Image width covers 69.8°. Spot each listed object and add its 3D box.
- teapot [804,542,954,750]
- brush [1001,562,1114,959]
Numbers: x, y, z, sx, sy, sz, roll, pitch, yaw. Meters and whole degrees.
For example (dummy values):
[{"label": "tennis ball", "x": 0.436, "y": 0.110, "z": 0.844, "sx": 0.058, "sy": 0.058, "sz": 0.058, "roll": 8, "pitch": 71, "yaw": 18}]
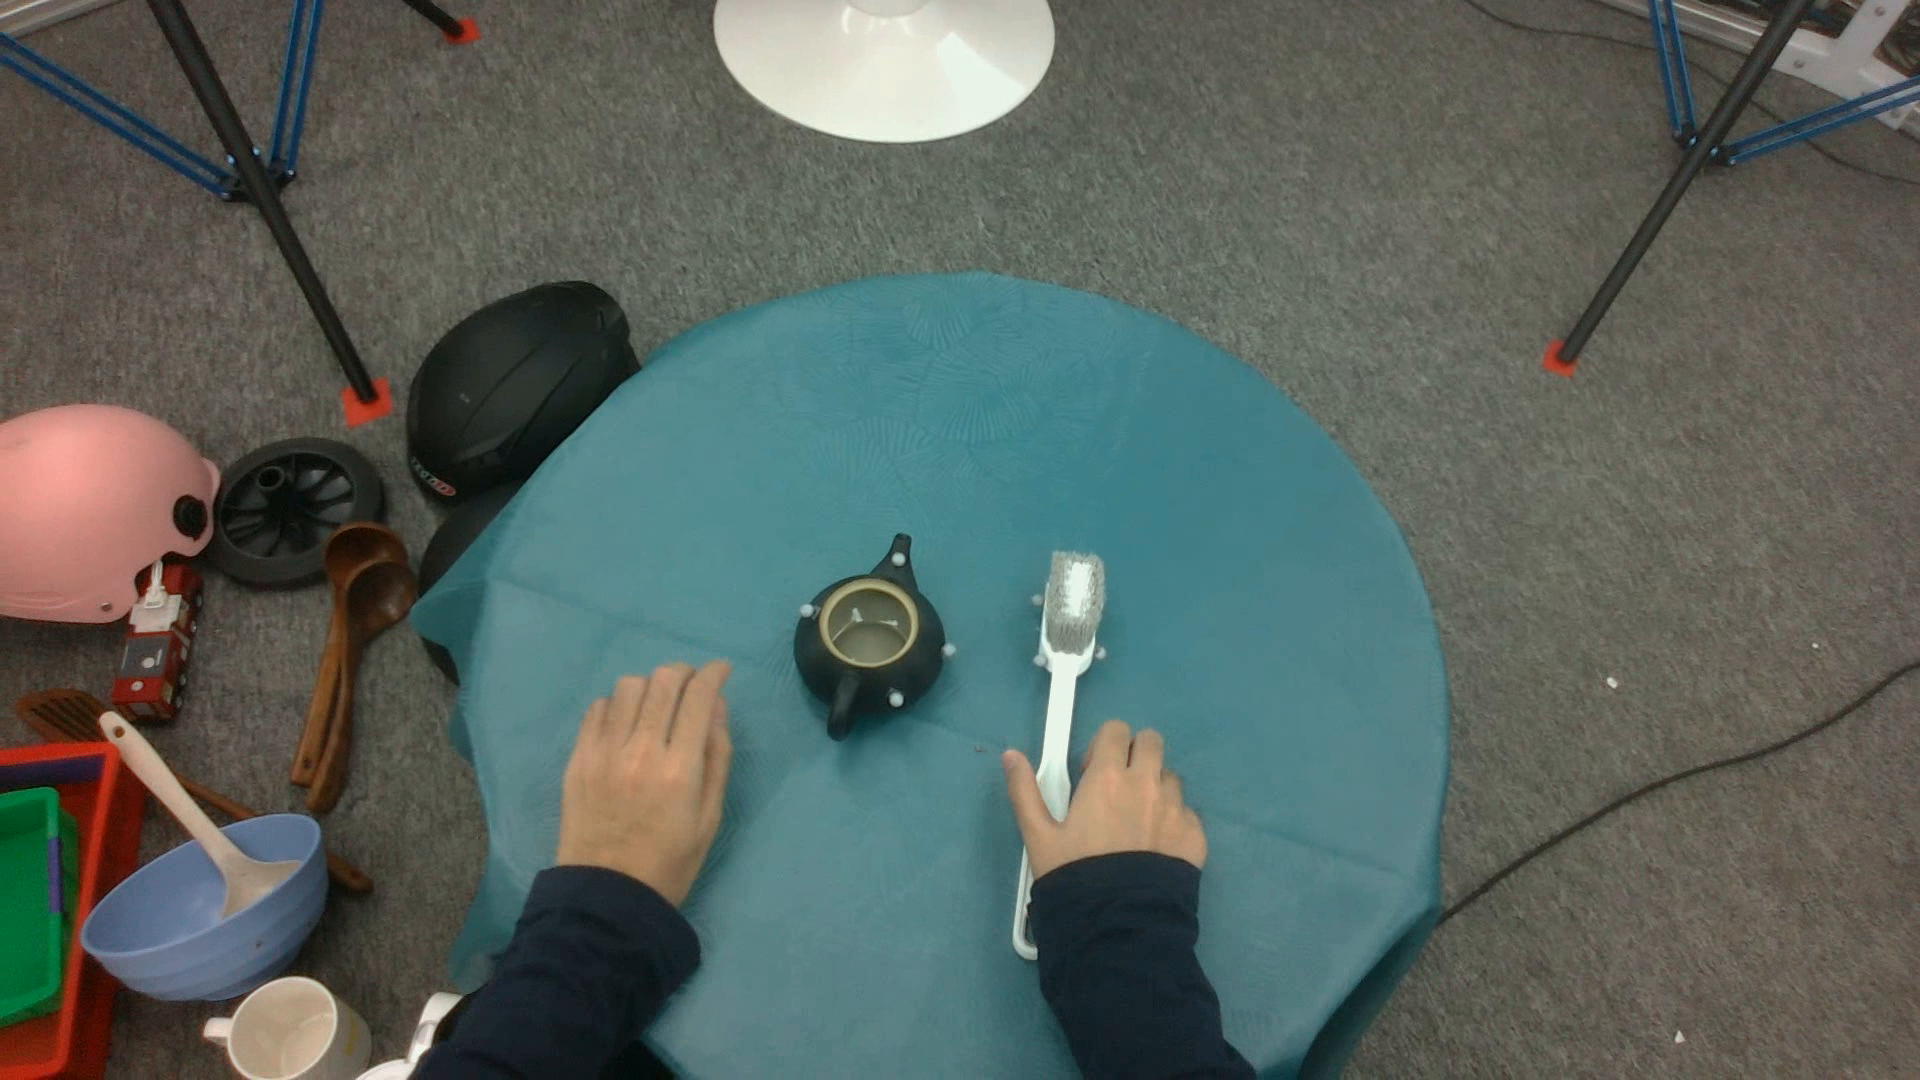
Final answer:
[{"label": "teapot", "x": -0.049, "y": 0.067, "z": 0.829, "sx": 0.091, "sy": 0.053, "sz": 0.134, "roll": 13, "pitch": 58, "yaw": 9}, {"label": "brush", "x": 0.058, "y": 0.120, "z": 0.806, "sx": 0.034, "sy": 0.050, "sz": 0.245, "roll": 13, "pitch": 57, "yaw": 0}]
